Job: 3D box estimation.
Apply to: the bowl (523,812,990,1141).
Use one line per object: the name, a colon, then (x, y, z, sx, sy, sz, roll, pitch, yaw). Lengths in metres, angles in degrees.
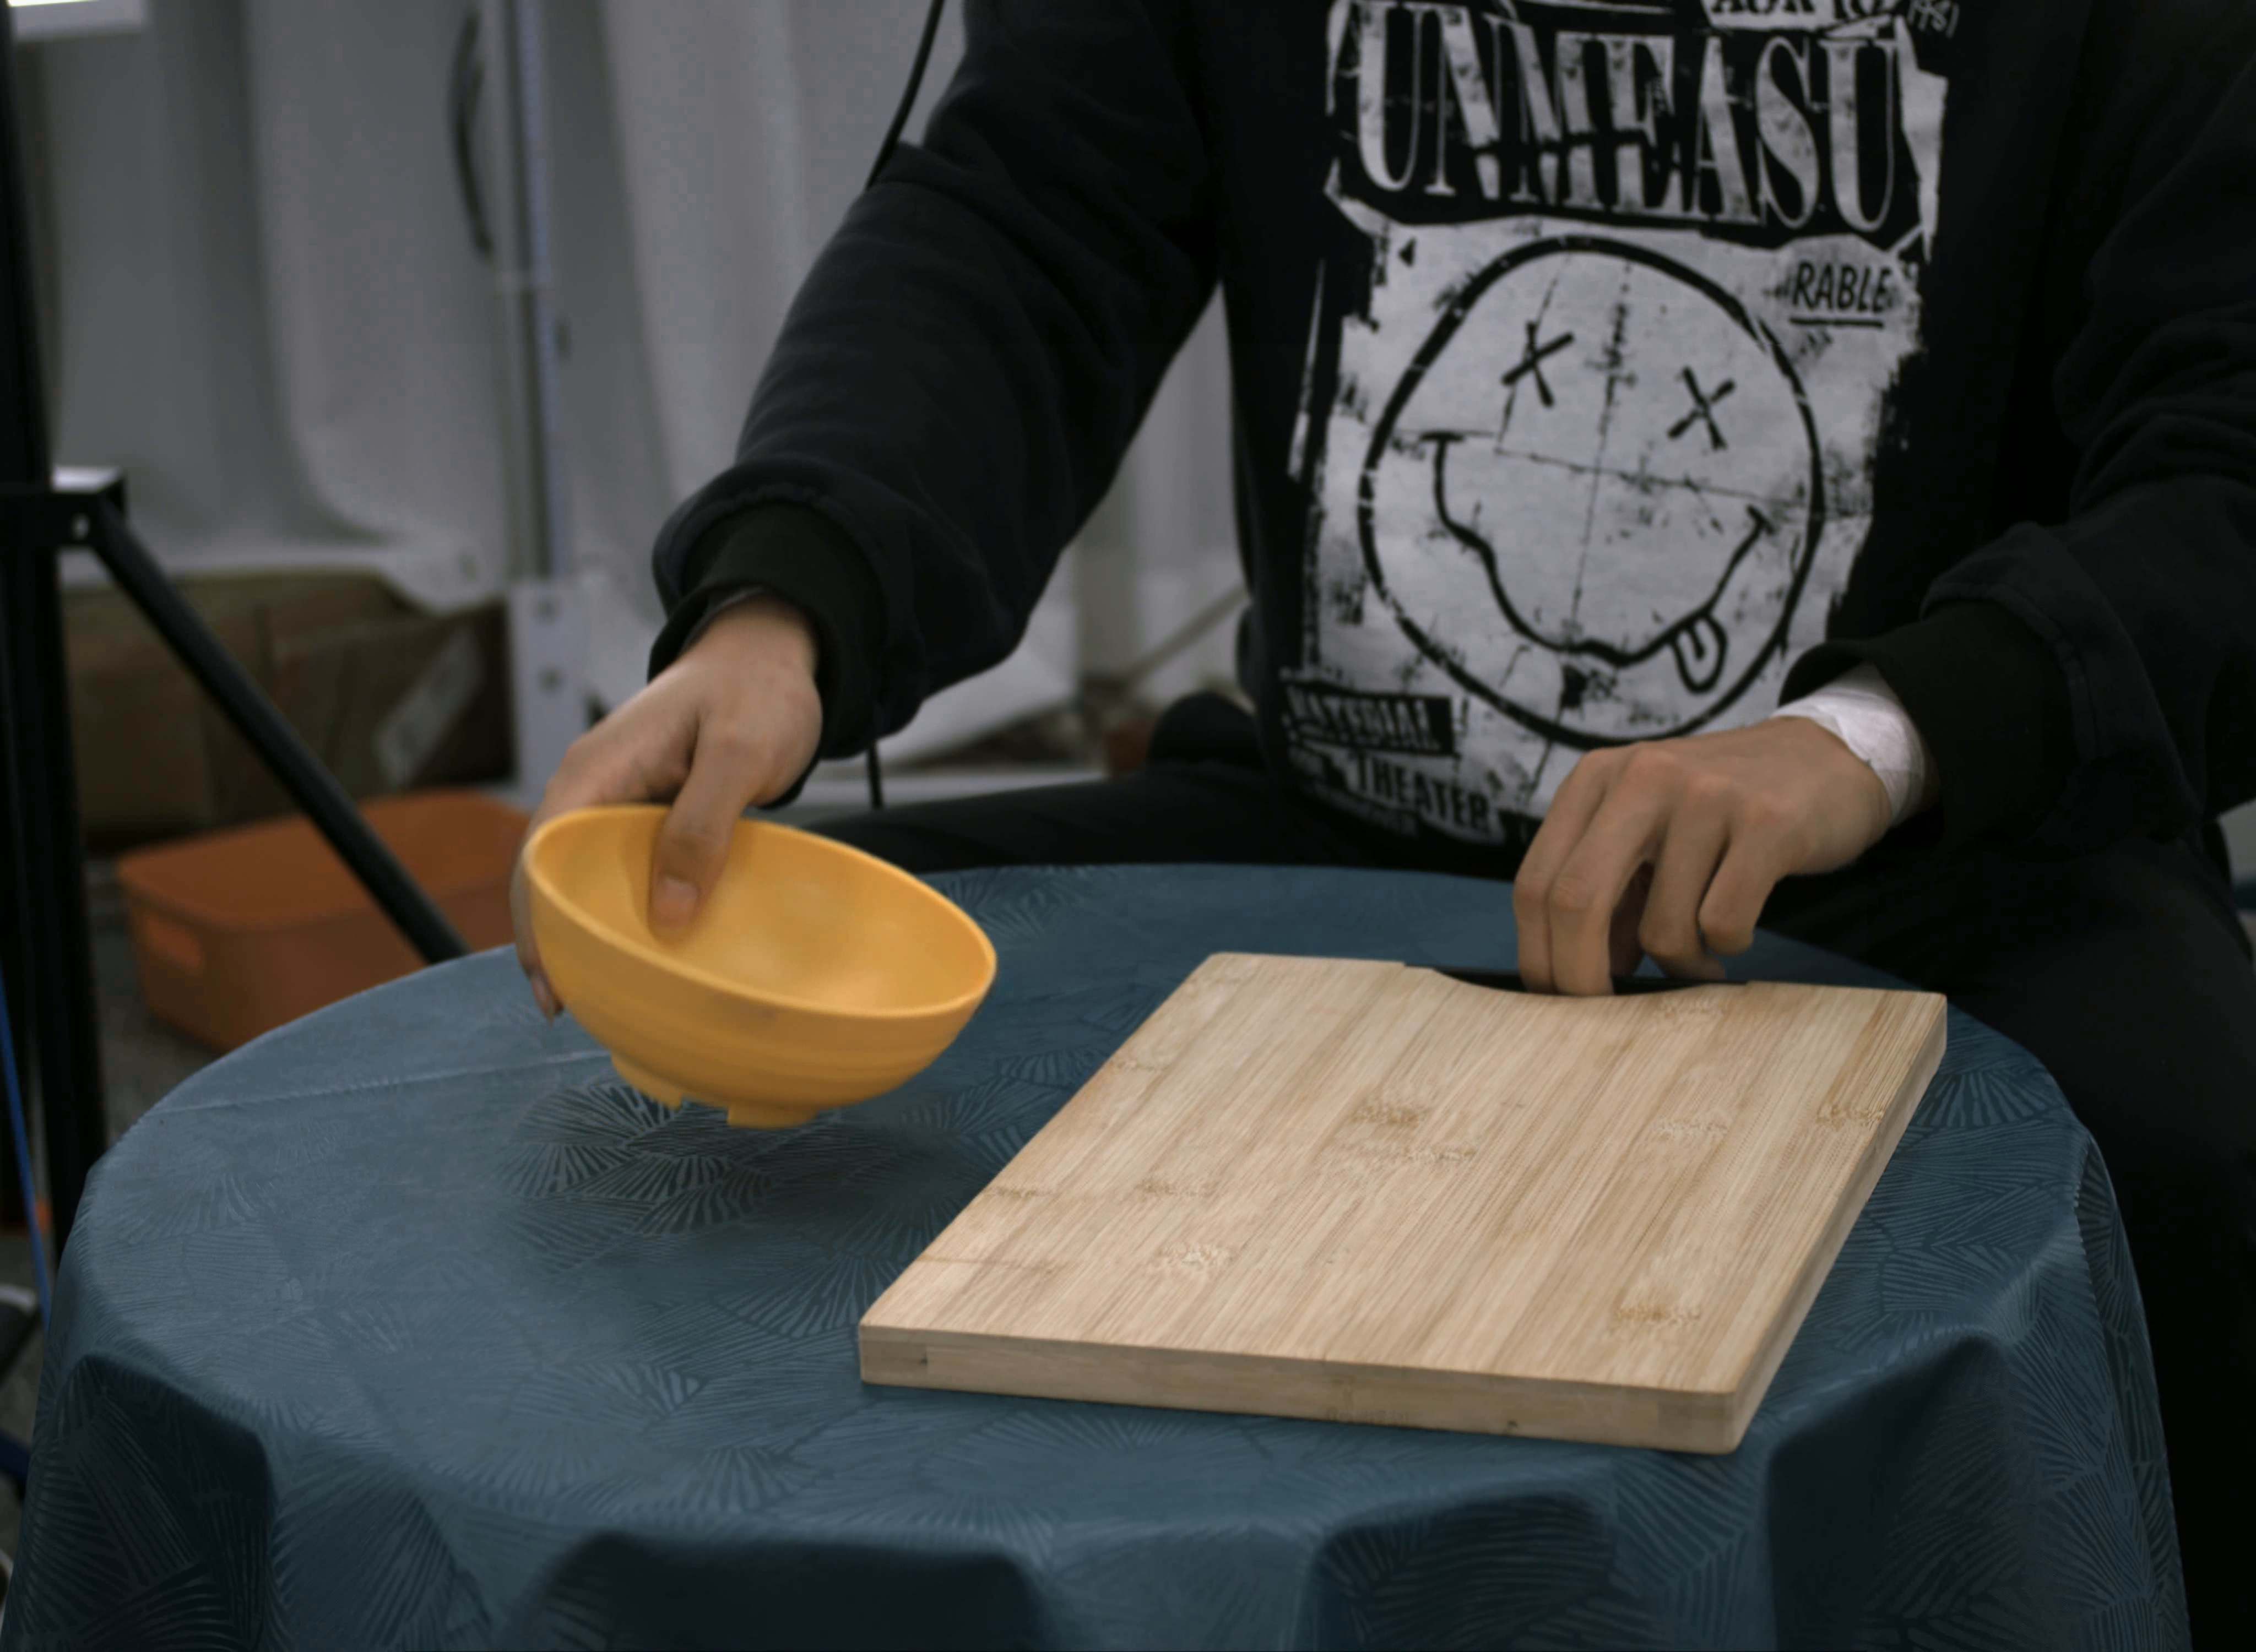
bowl: (-0.117, 0.053, 1.595, 0.144, 0.060, 0.146, 14, 19, -6)

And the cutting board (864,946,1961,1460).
cutting board: (0.094, 0.101, 1.537, 0.253, 0.023, 0.345, 3, 17, 17)
